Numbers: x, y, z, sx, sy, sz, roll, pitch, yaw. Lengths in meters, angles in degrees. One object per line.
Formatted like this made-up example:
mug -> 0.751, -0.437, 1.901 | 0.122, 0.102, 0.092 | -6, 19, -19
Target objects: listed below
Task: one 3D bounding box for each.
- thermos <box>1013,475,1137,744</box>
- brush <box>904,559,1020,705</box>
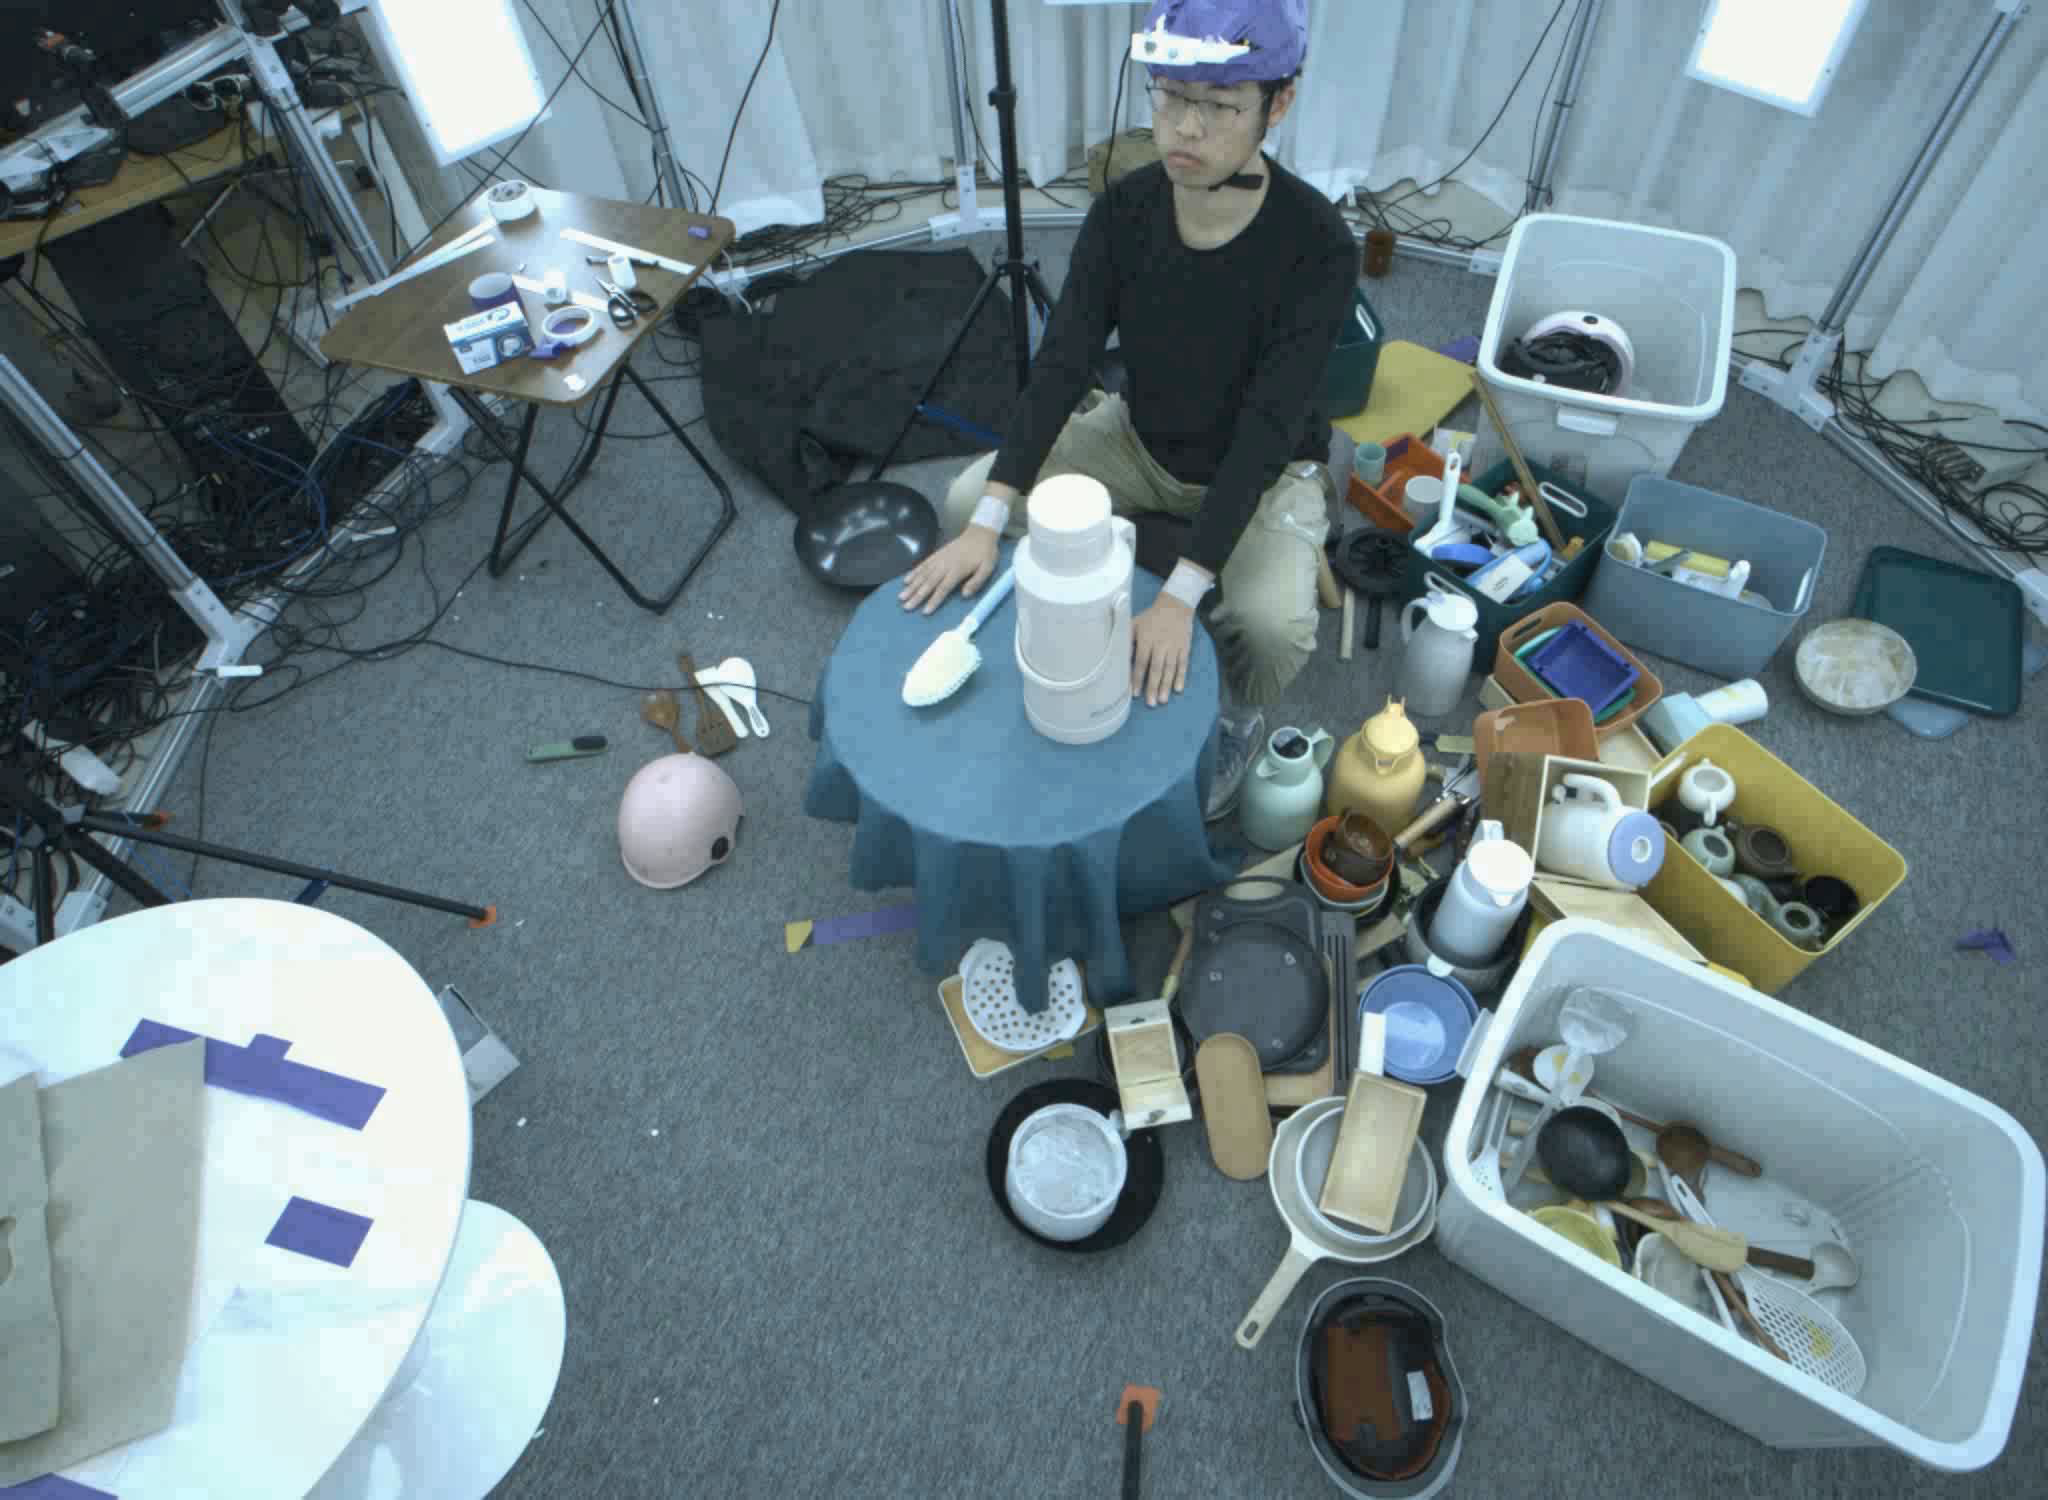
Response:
thermos -> 0.081, -0.196, 1.679 | 0.172, 0.411, 0.208 | 33, 63, 26
brush -> -0.074, -0.192, 1.877 | 0.083, 0.084, 0.326 | 24, 60, 24
